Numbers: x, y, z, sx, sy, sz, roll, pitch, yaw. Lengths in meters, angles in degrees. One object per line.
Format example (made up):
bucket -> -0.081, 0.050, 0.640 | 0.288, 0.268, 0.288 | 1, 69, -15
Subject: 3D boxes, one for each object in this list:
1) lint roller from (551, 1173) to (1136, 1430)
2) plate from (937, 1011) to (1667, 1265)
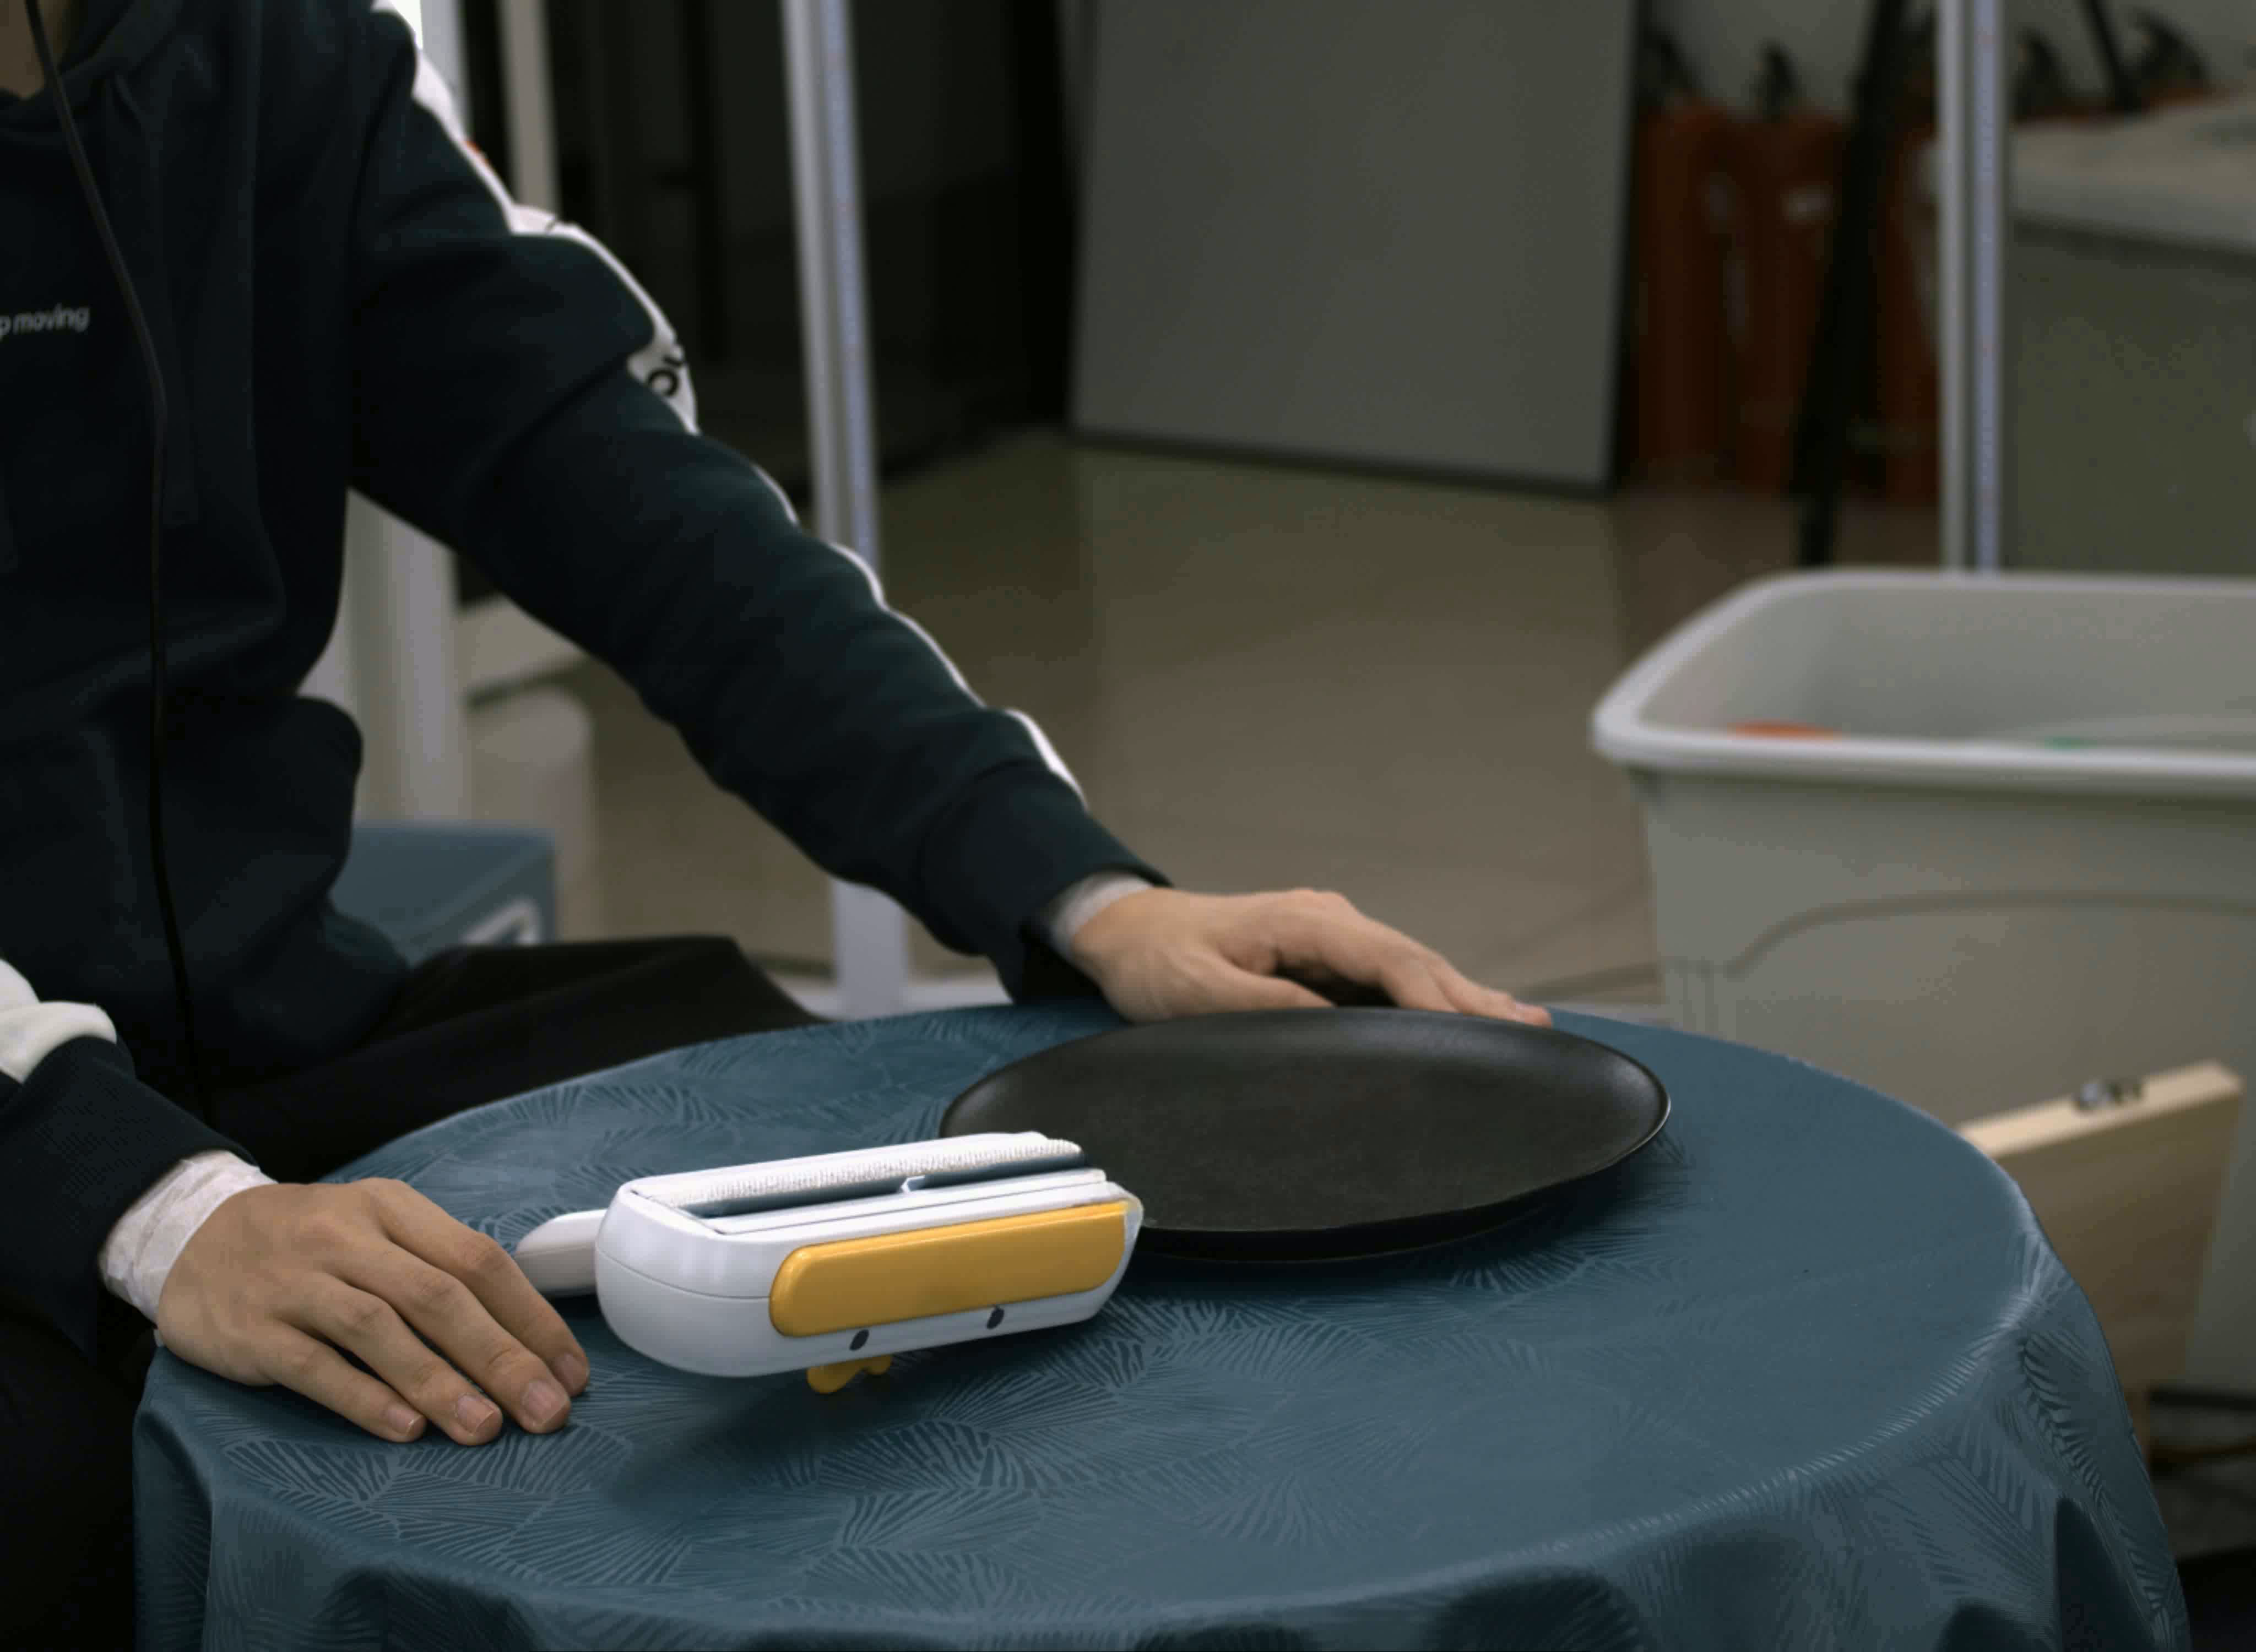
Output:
lint roller -> -0.116, 0.146, 1.642 | 0.188, 0.075, 0.194 | -7, -3, -40
plate -> 0.057, 0.105, 1.774 | 0.241, 0.024, 0.245 | -4, 14, 0
